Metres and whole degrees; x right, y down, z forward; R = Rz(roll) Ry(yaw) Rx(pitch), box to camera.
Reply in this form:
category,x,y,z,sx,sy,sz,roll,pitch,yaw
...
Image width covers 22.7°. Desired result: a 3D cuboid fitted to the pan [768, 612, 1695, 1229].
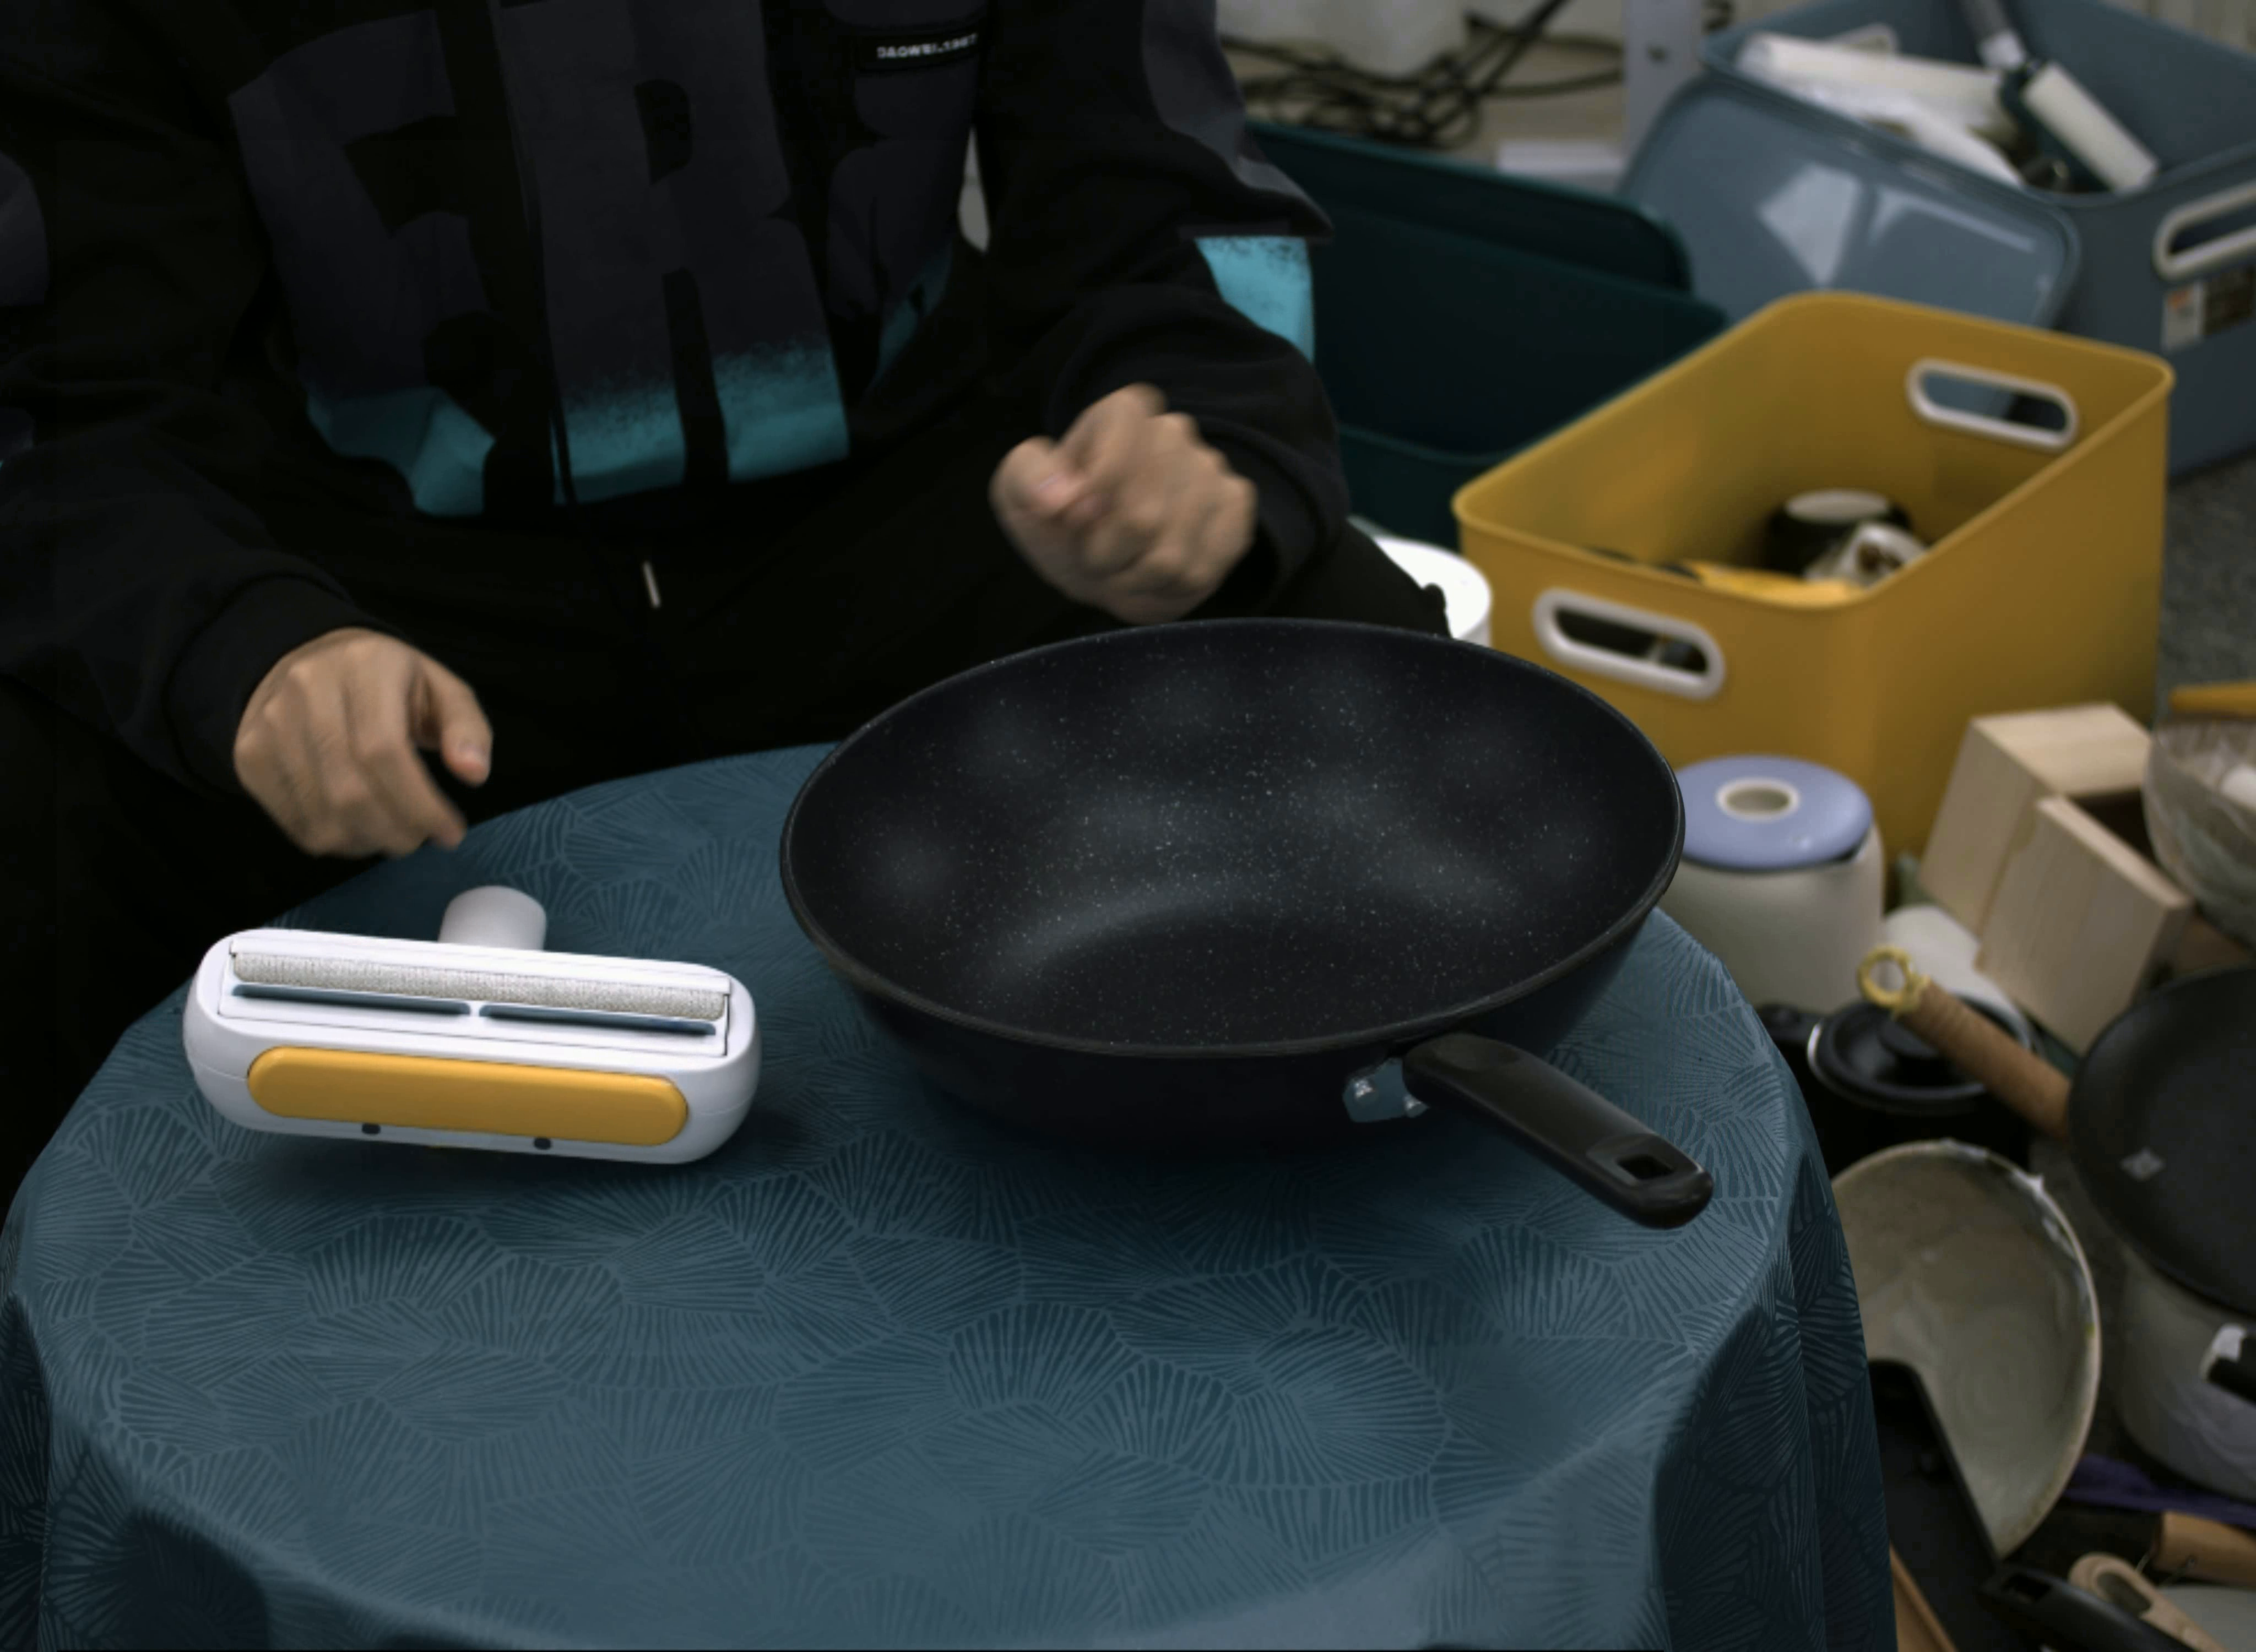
category,x,y,z,sx,sy,sz,roll,pitch,yaw
pan,0.066,0.057,1.863,0.311,0.110,0.480,-16,30,-19

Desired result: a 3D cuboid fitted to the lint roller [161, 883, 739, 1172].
category,x,y,z,sx,sy,sz,roll,pitch,yaw
lint roller,-0.225,0.055,1.938,0.192,0.073,0.195,3,26,0
